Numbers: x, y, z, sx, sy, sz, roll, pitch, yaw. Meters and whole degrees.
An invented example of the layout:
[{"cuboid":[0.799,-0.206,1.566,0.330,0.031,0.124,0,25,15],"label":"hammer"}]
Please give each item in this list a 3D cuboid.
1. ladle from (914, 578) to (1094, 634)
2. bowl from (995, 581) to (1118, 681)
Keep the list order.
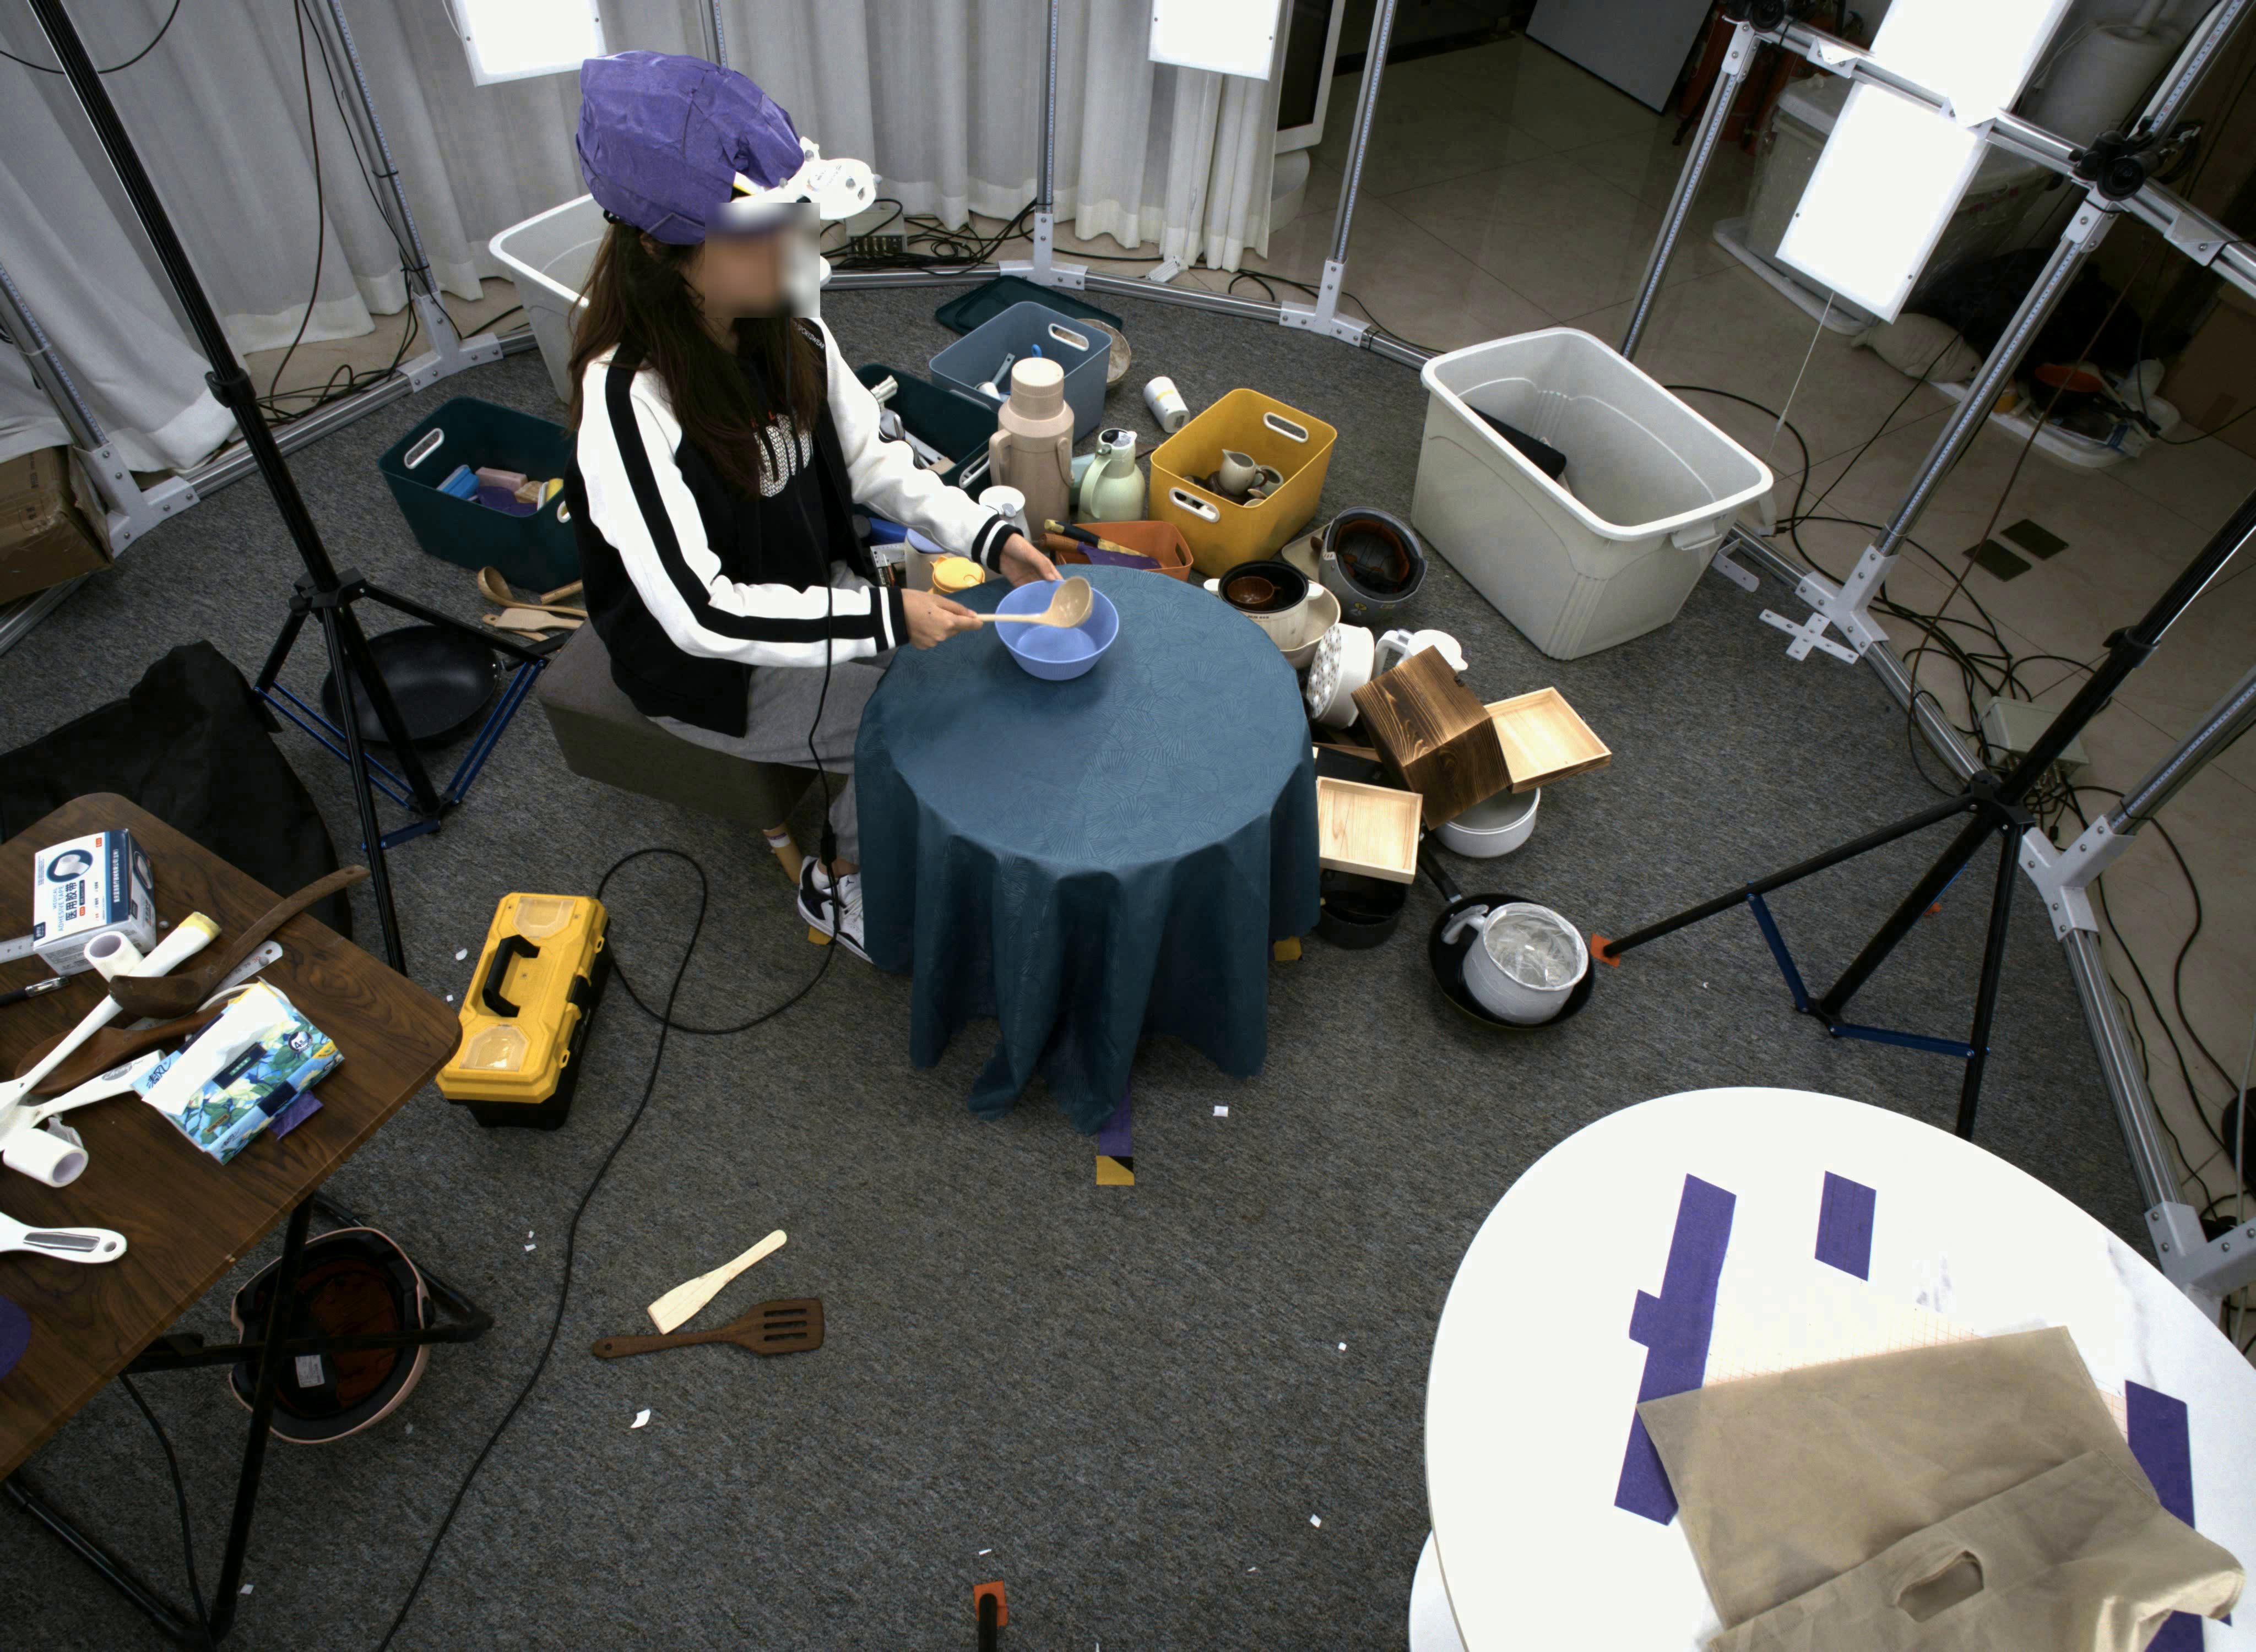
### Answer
[{"cuboid":[-0.165,-0.300,1.761,0.254,0.071,0.074,-8,52,-30],"label":"ladle"},{"cuboid":[-0.104,-0.272,1.854,0.176,0.068,0.180,2,48,-3],"label":"bowl"}]
